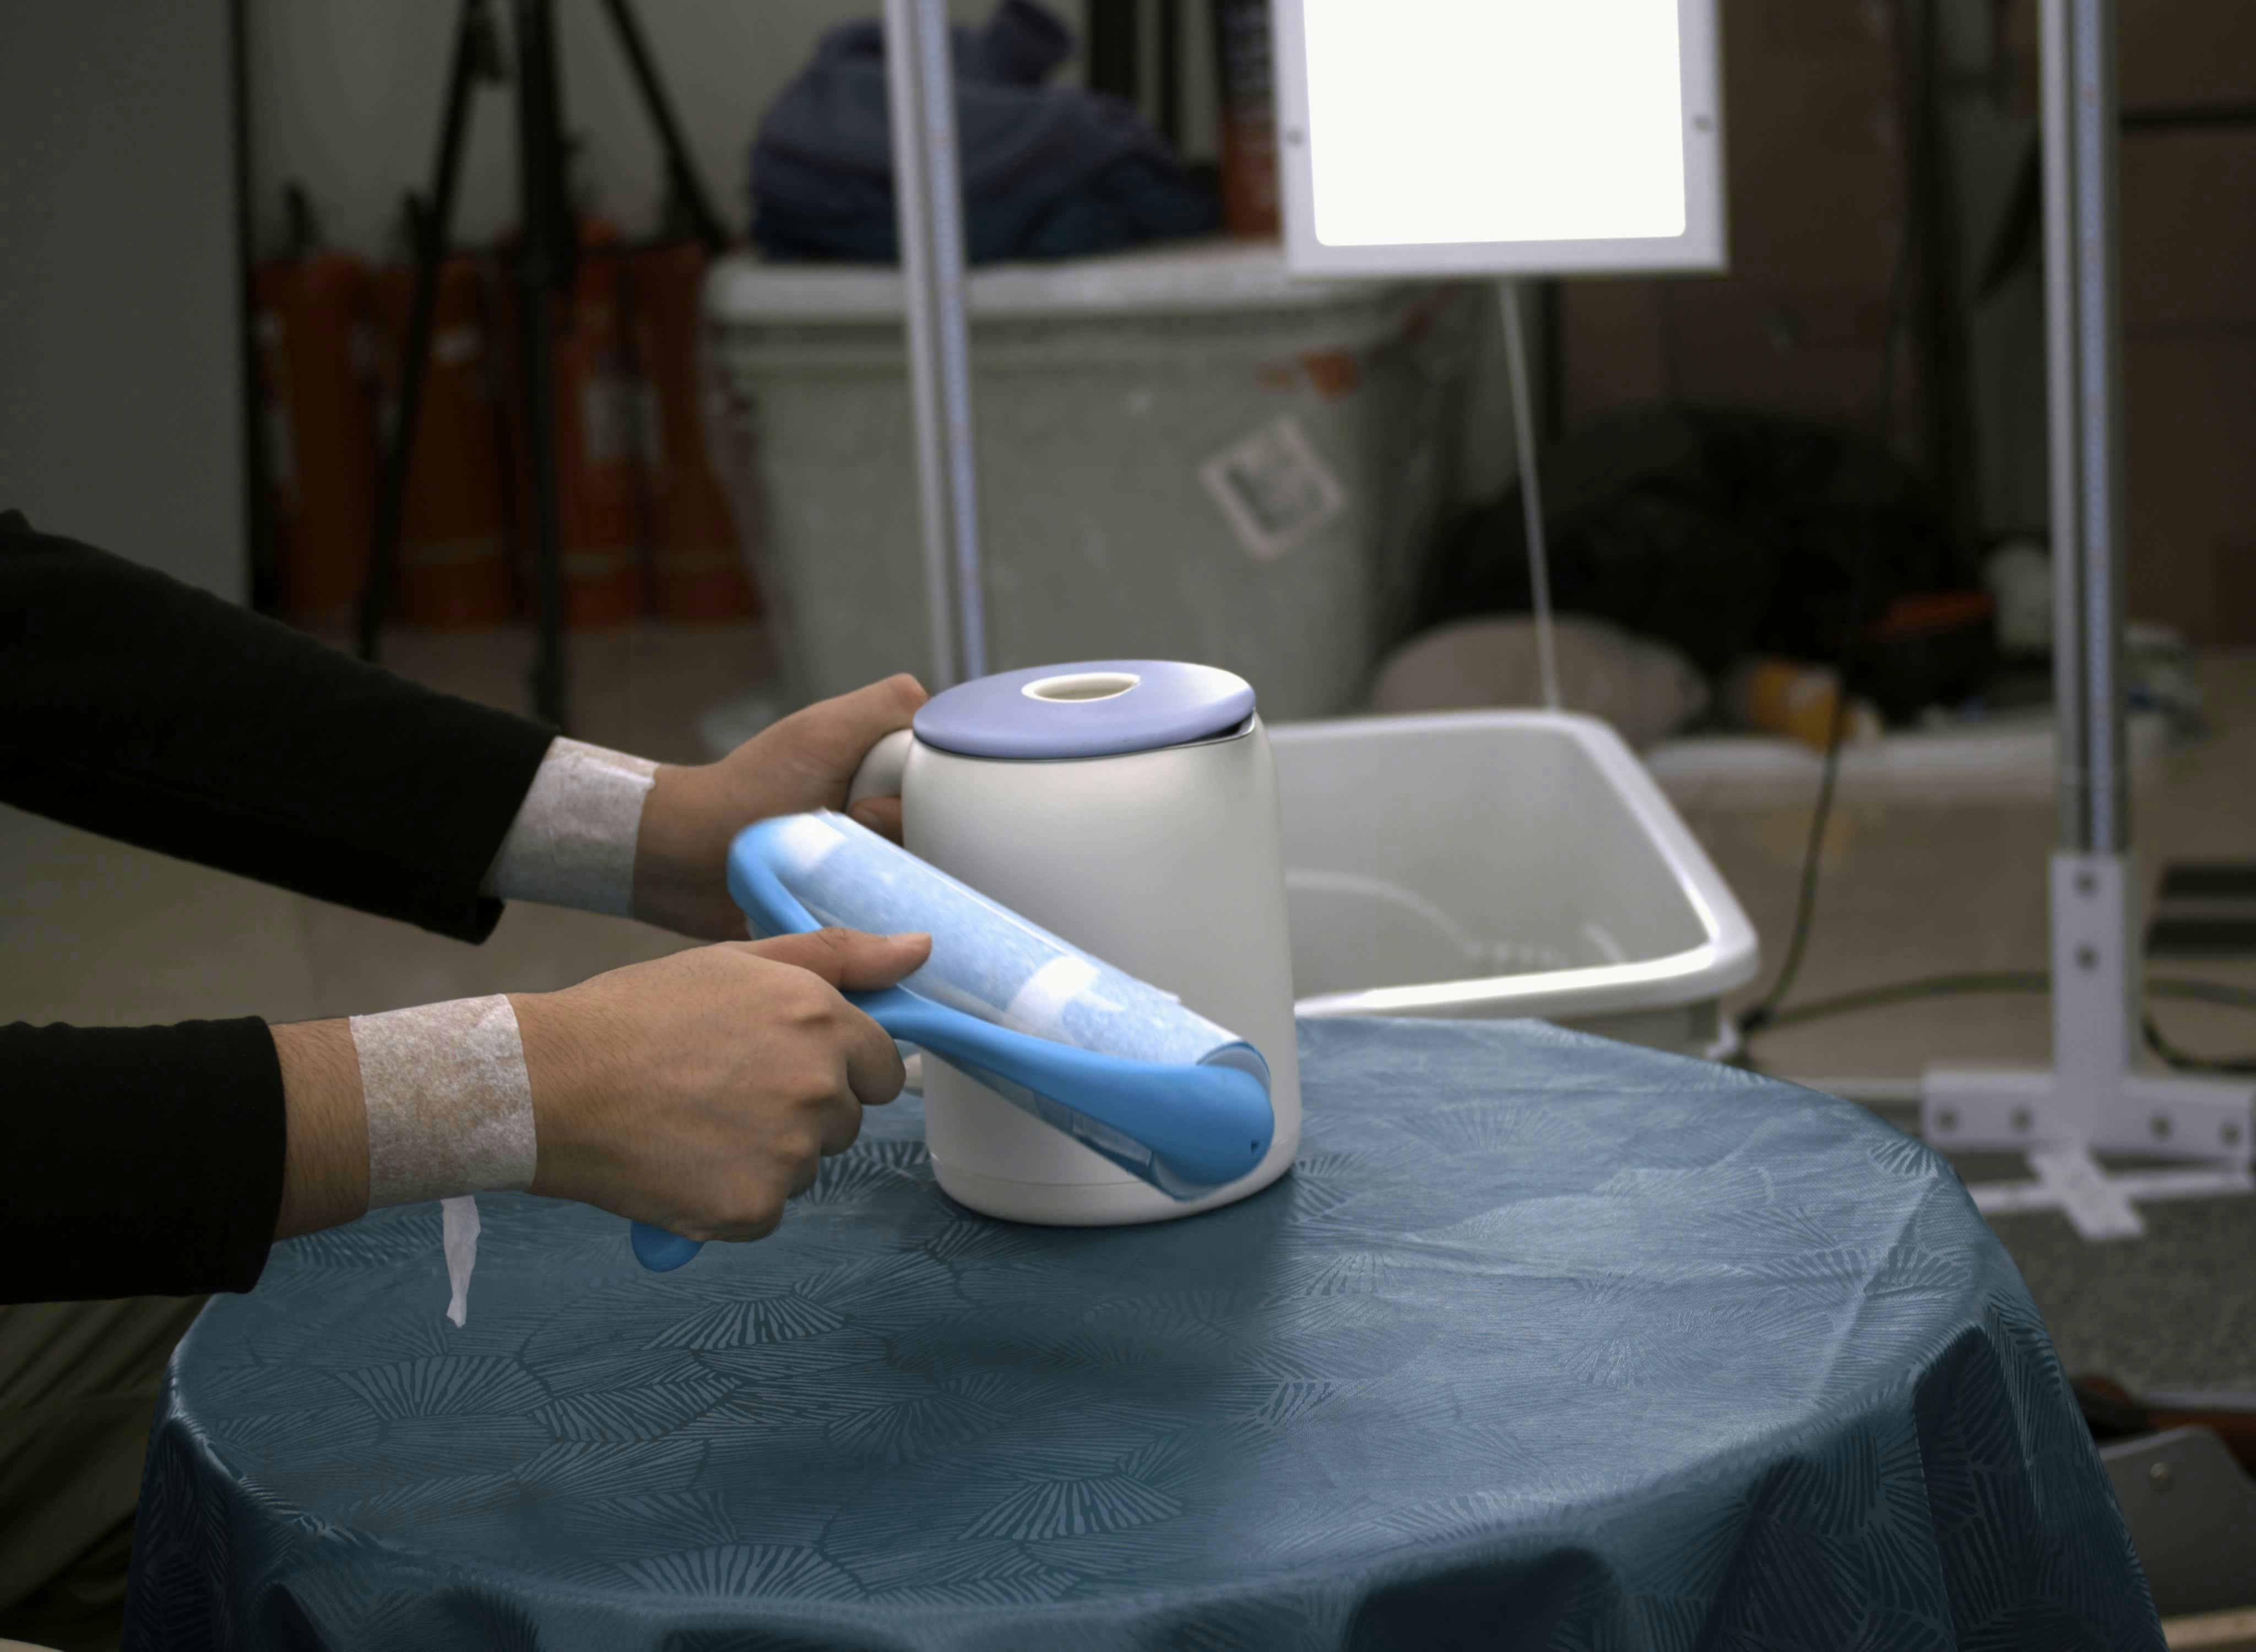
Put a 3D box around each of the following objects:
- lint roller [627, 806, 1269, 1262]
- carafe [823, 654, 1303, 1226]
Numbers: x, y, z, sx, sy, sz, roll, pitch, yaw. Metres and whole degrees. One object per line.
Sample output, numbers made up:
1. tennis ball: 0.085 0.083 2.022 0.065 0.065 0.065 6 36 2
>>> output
1. lint roller: -0.084 0.075 1.730 0.233 0.068 0.176 29 41 35
2. carafe: -0.029 0.037 1.913 0.195 0.183 0.129 4 15 38
